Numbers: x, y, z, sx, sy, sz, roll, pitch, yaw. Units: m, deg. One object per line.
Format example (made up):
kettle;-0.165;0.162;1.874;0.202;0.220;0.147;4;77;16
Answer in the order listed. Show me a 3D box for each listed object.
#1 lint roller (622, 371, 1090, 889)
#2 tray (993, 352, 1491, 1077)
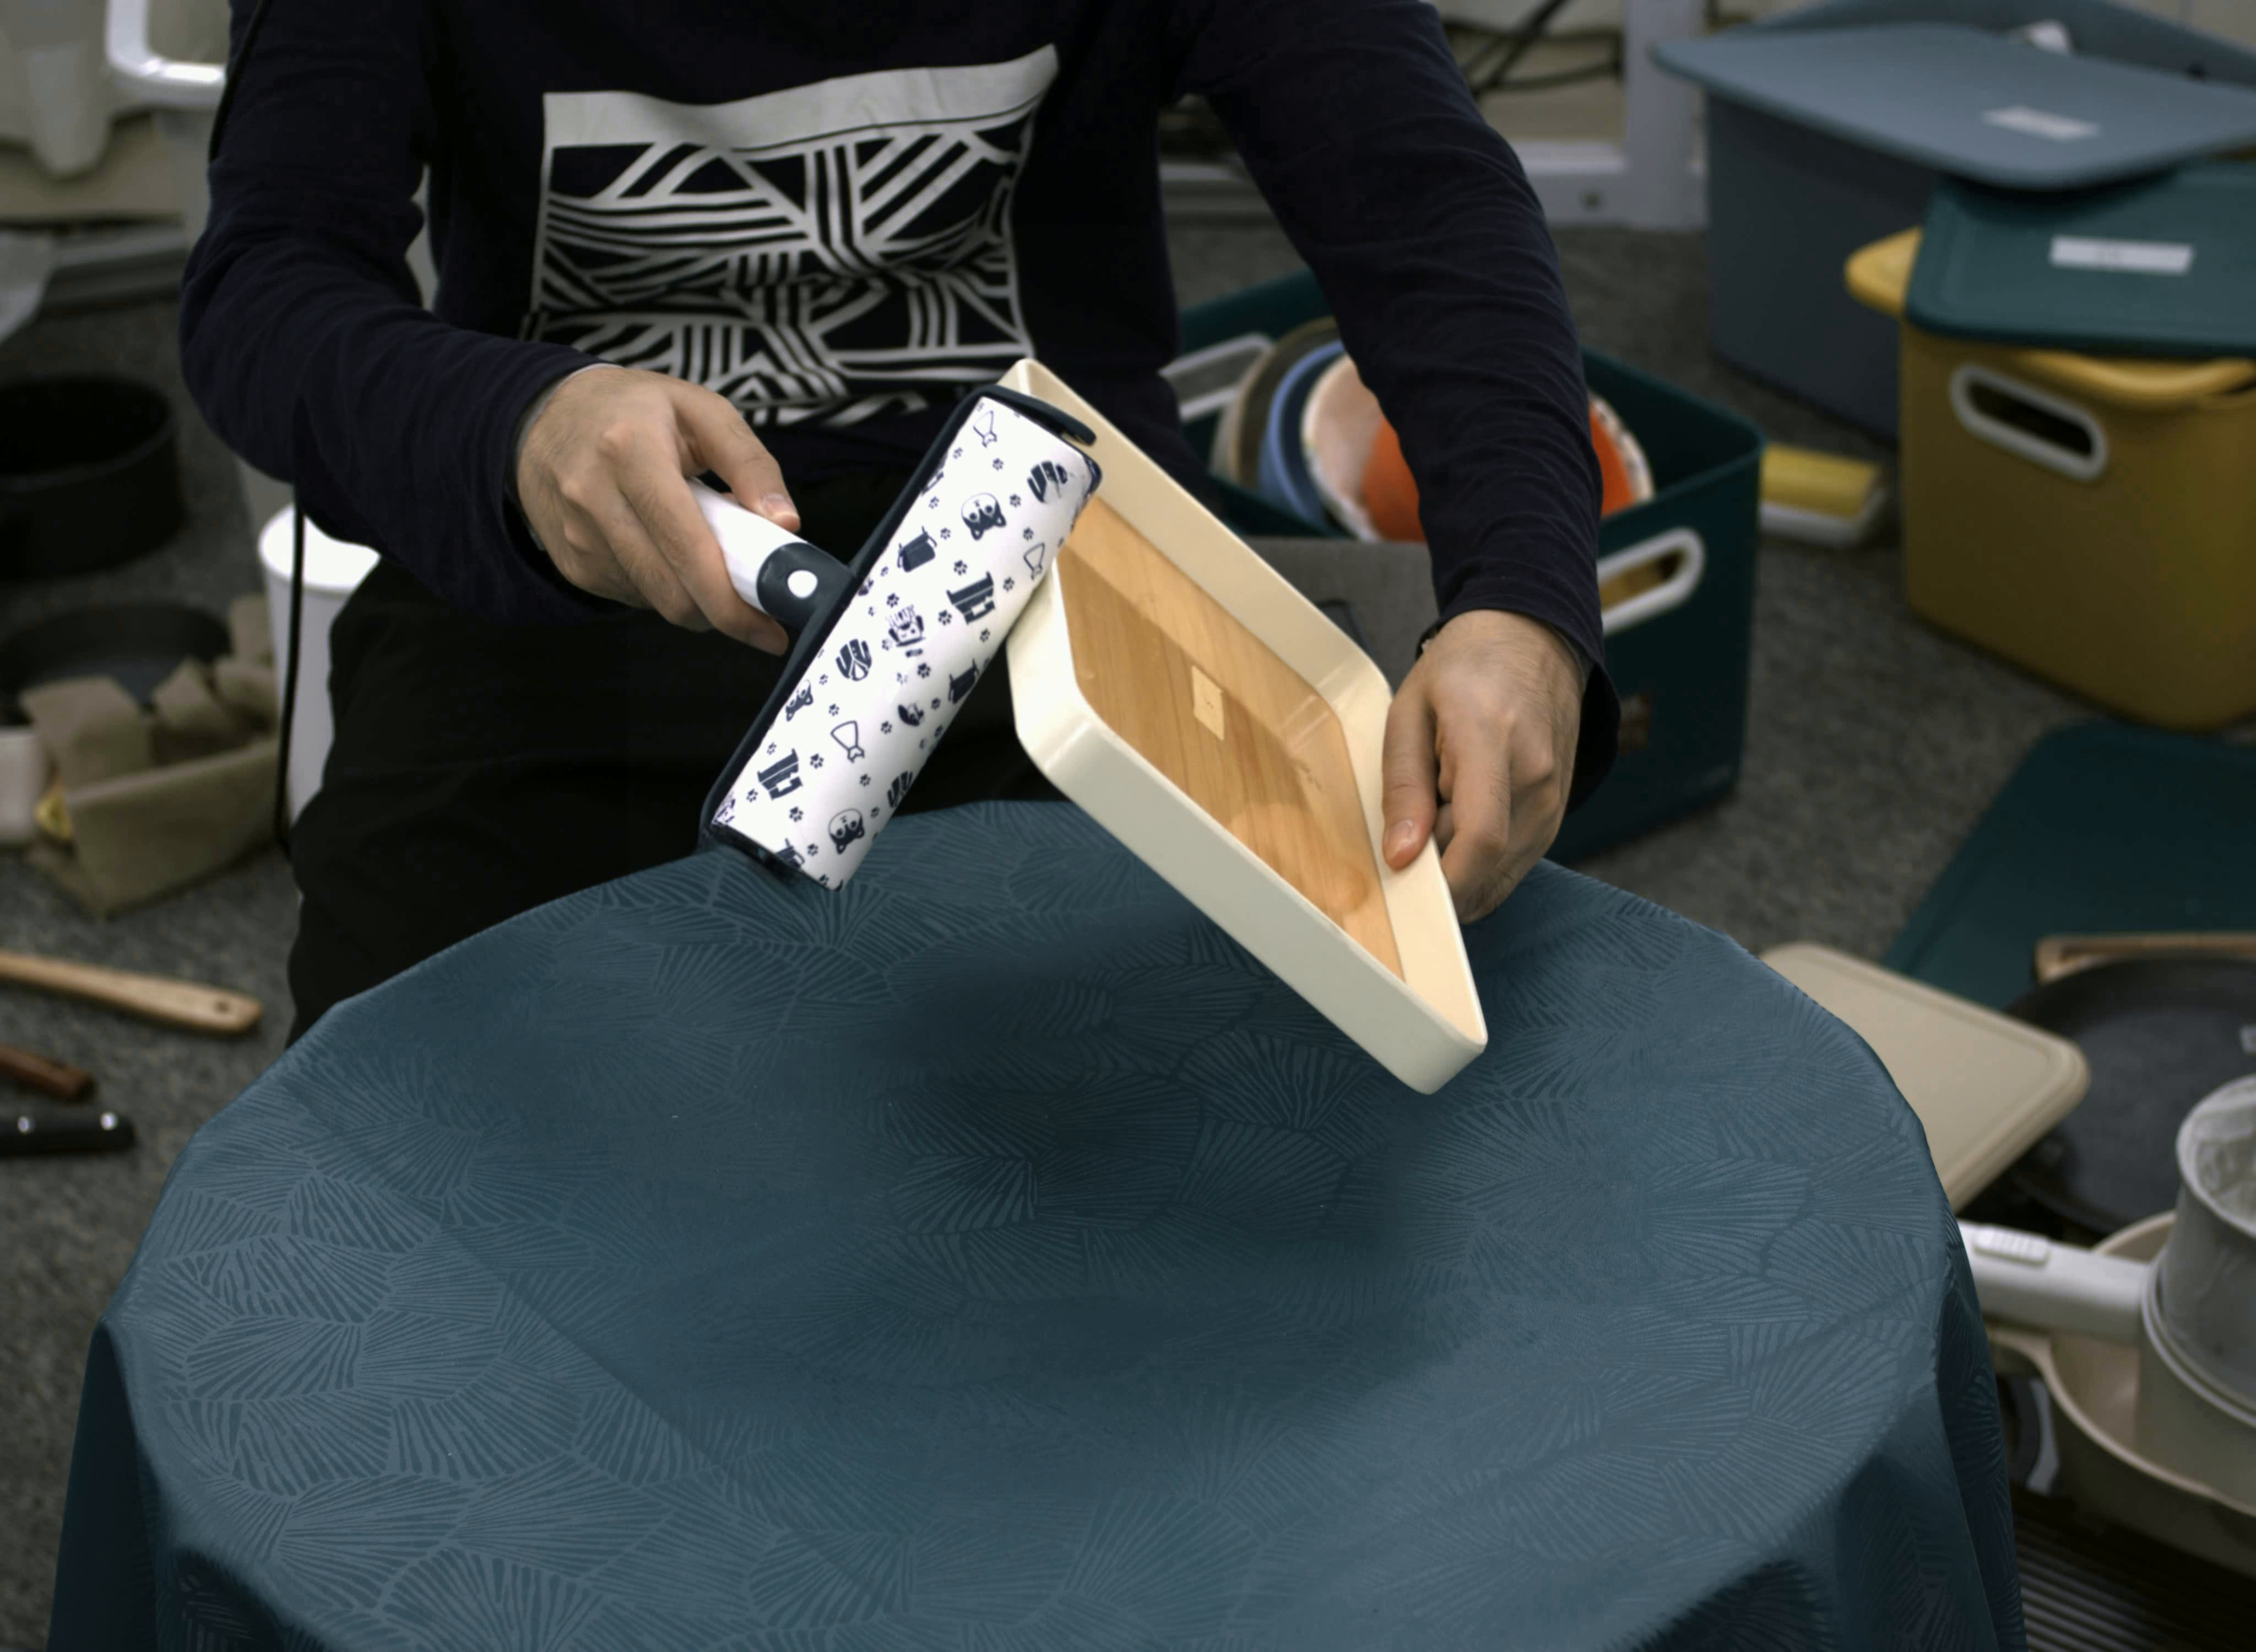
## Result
lint roller;-0.120;-0.085;1.883;0.050;0.177;0.247;33;-4;-33
tray;0.031;-0.042;1.883;0.191;0.027;0.304;39;18;-19
